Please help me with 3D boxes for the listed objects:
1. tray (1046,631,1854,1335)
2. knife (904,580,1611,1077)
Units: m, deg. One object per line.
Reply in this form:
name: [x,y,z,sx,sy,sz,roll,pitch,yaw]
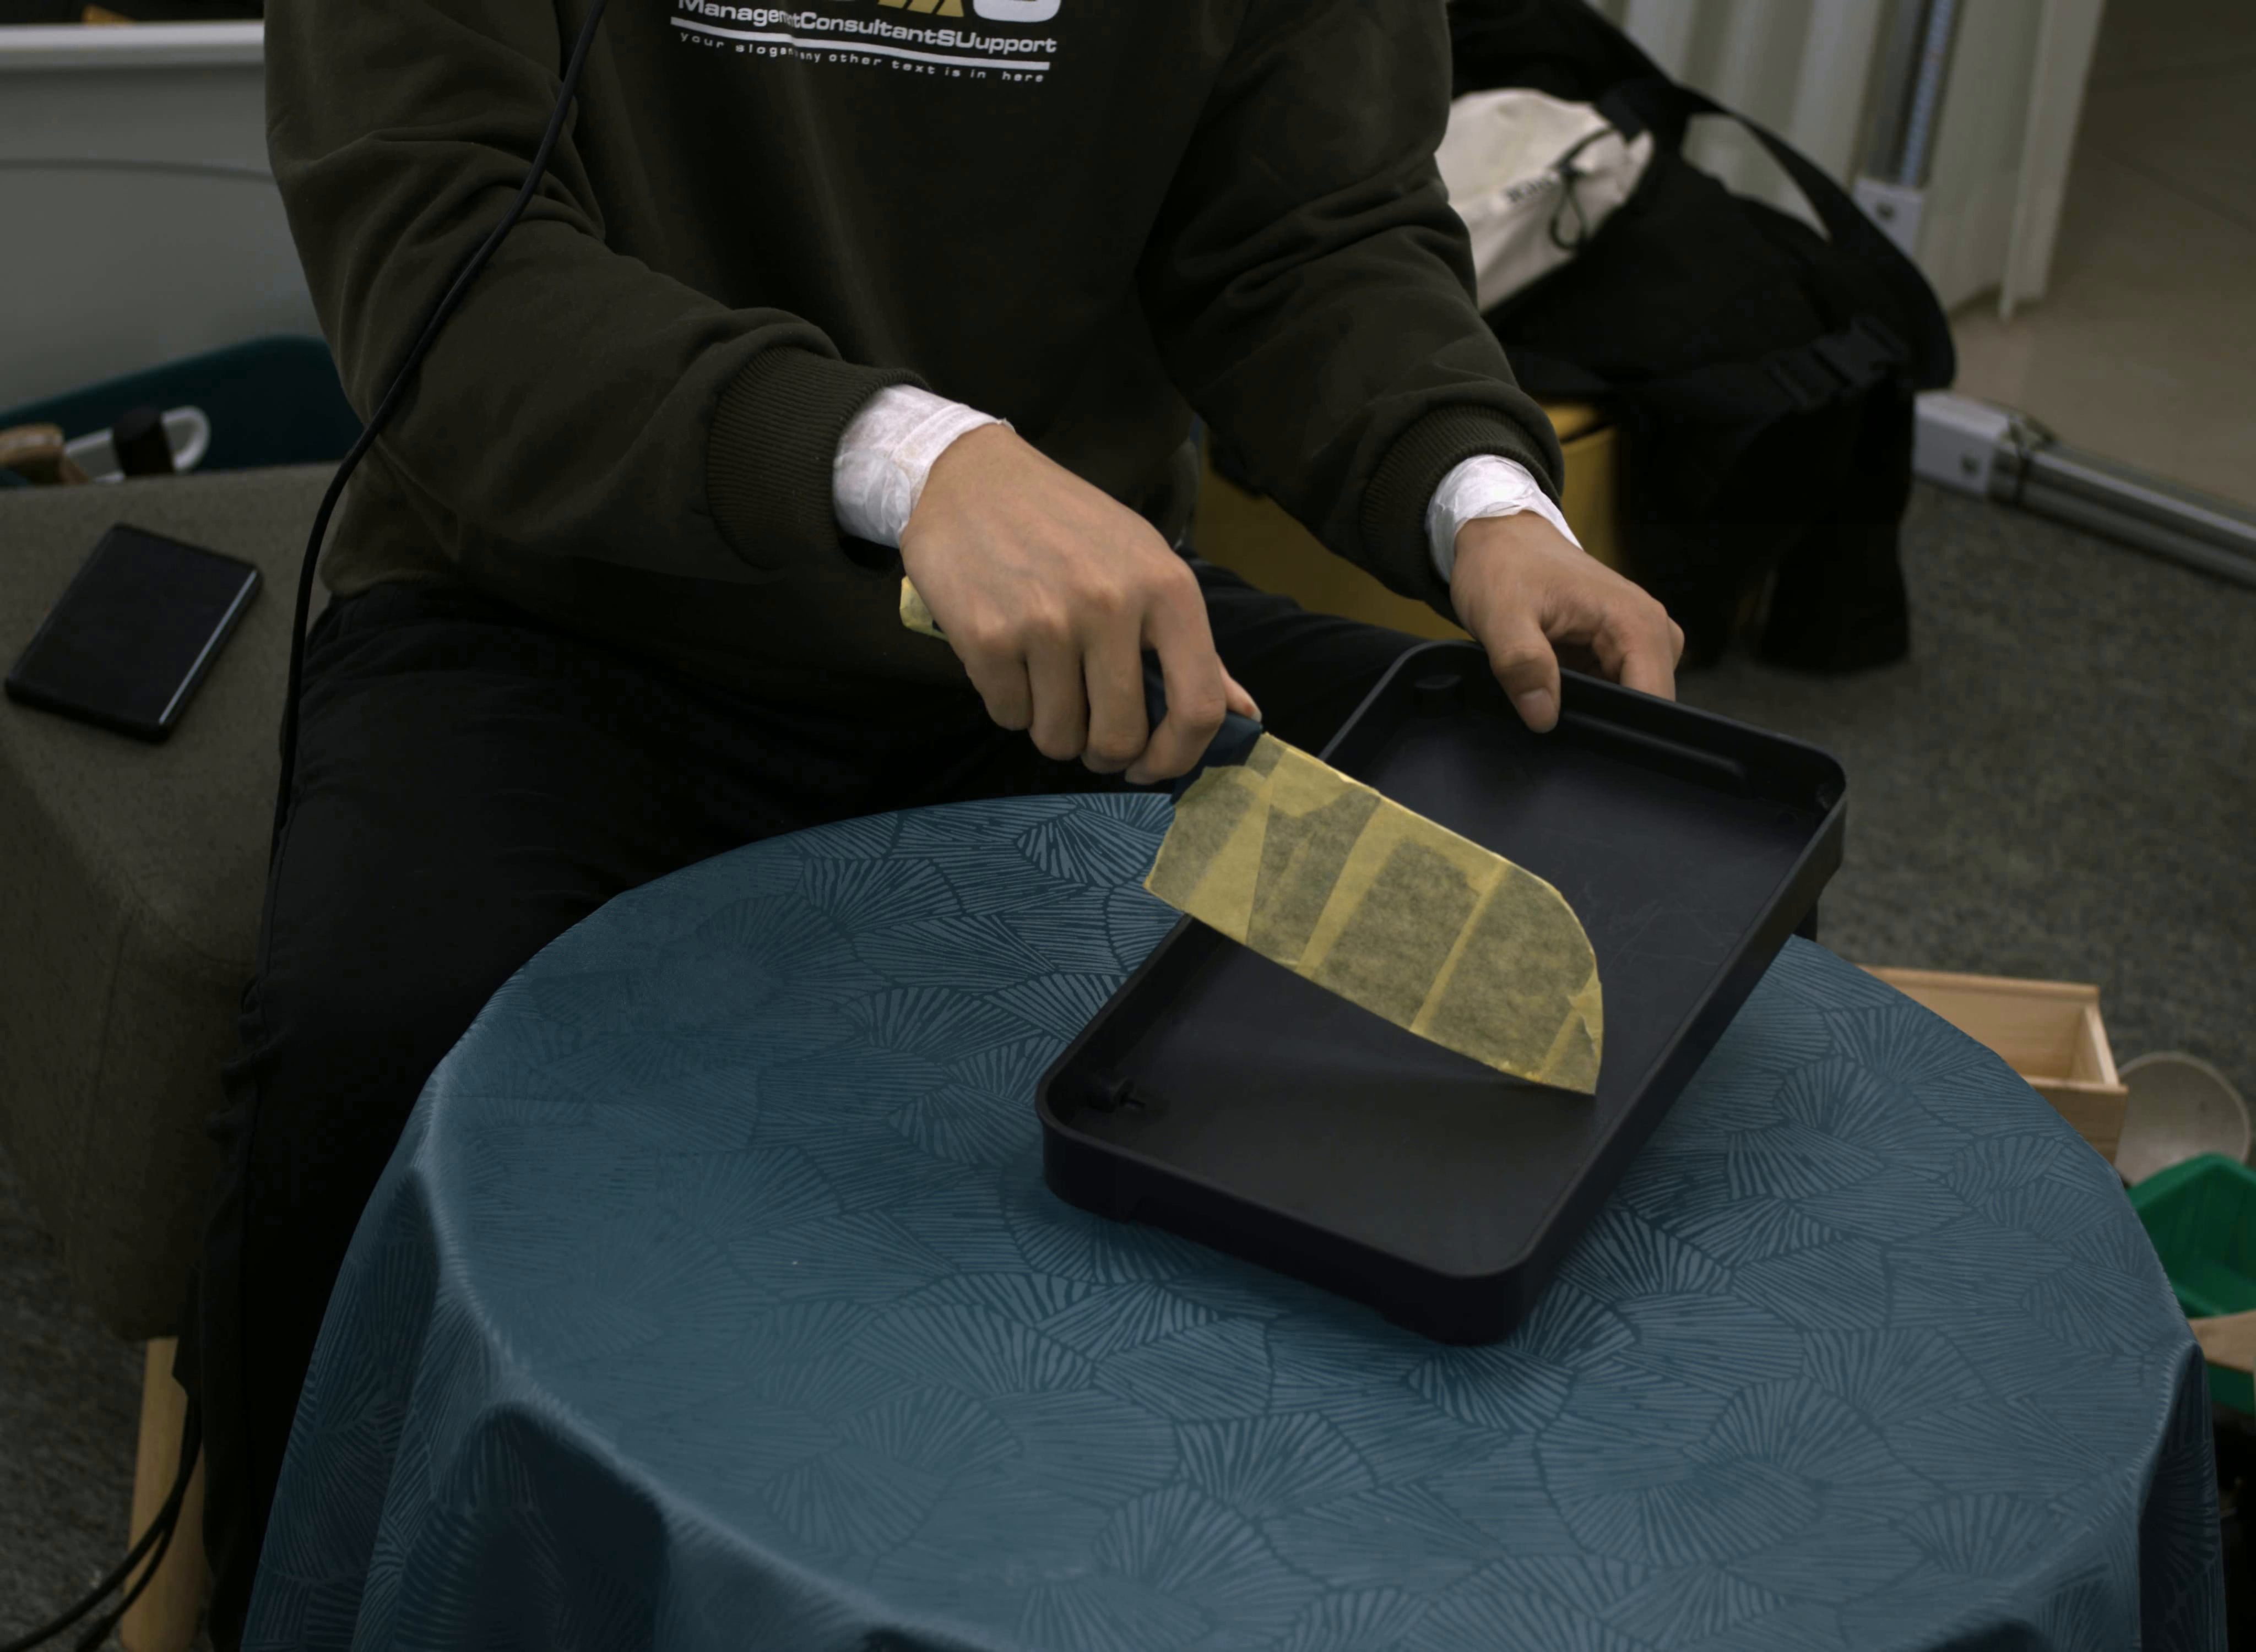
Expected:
tray: [0.118,0.047,1.867,0.185,0.037,0.318,16,41,22]
knife: [0.042,0.001,1.838,0.290,0.081,0.027,31,17,8]
